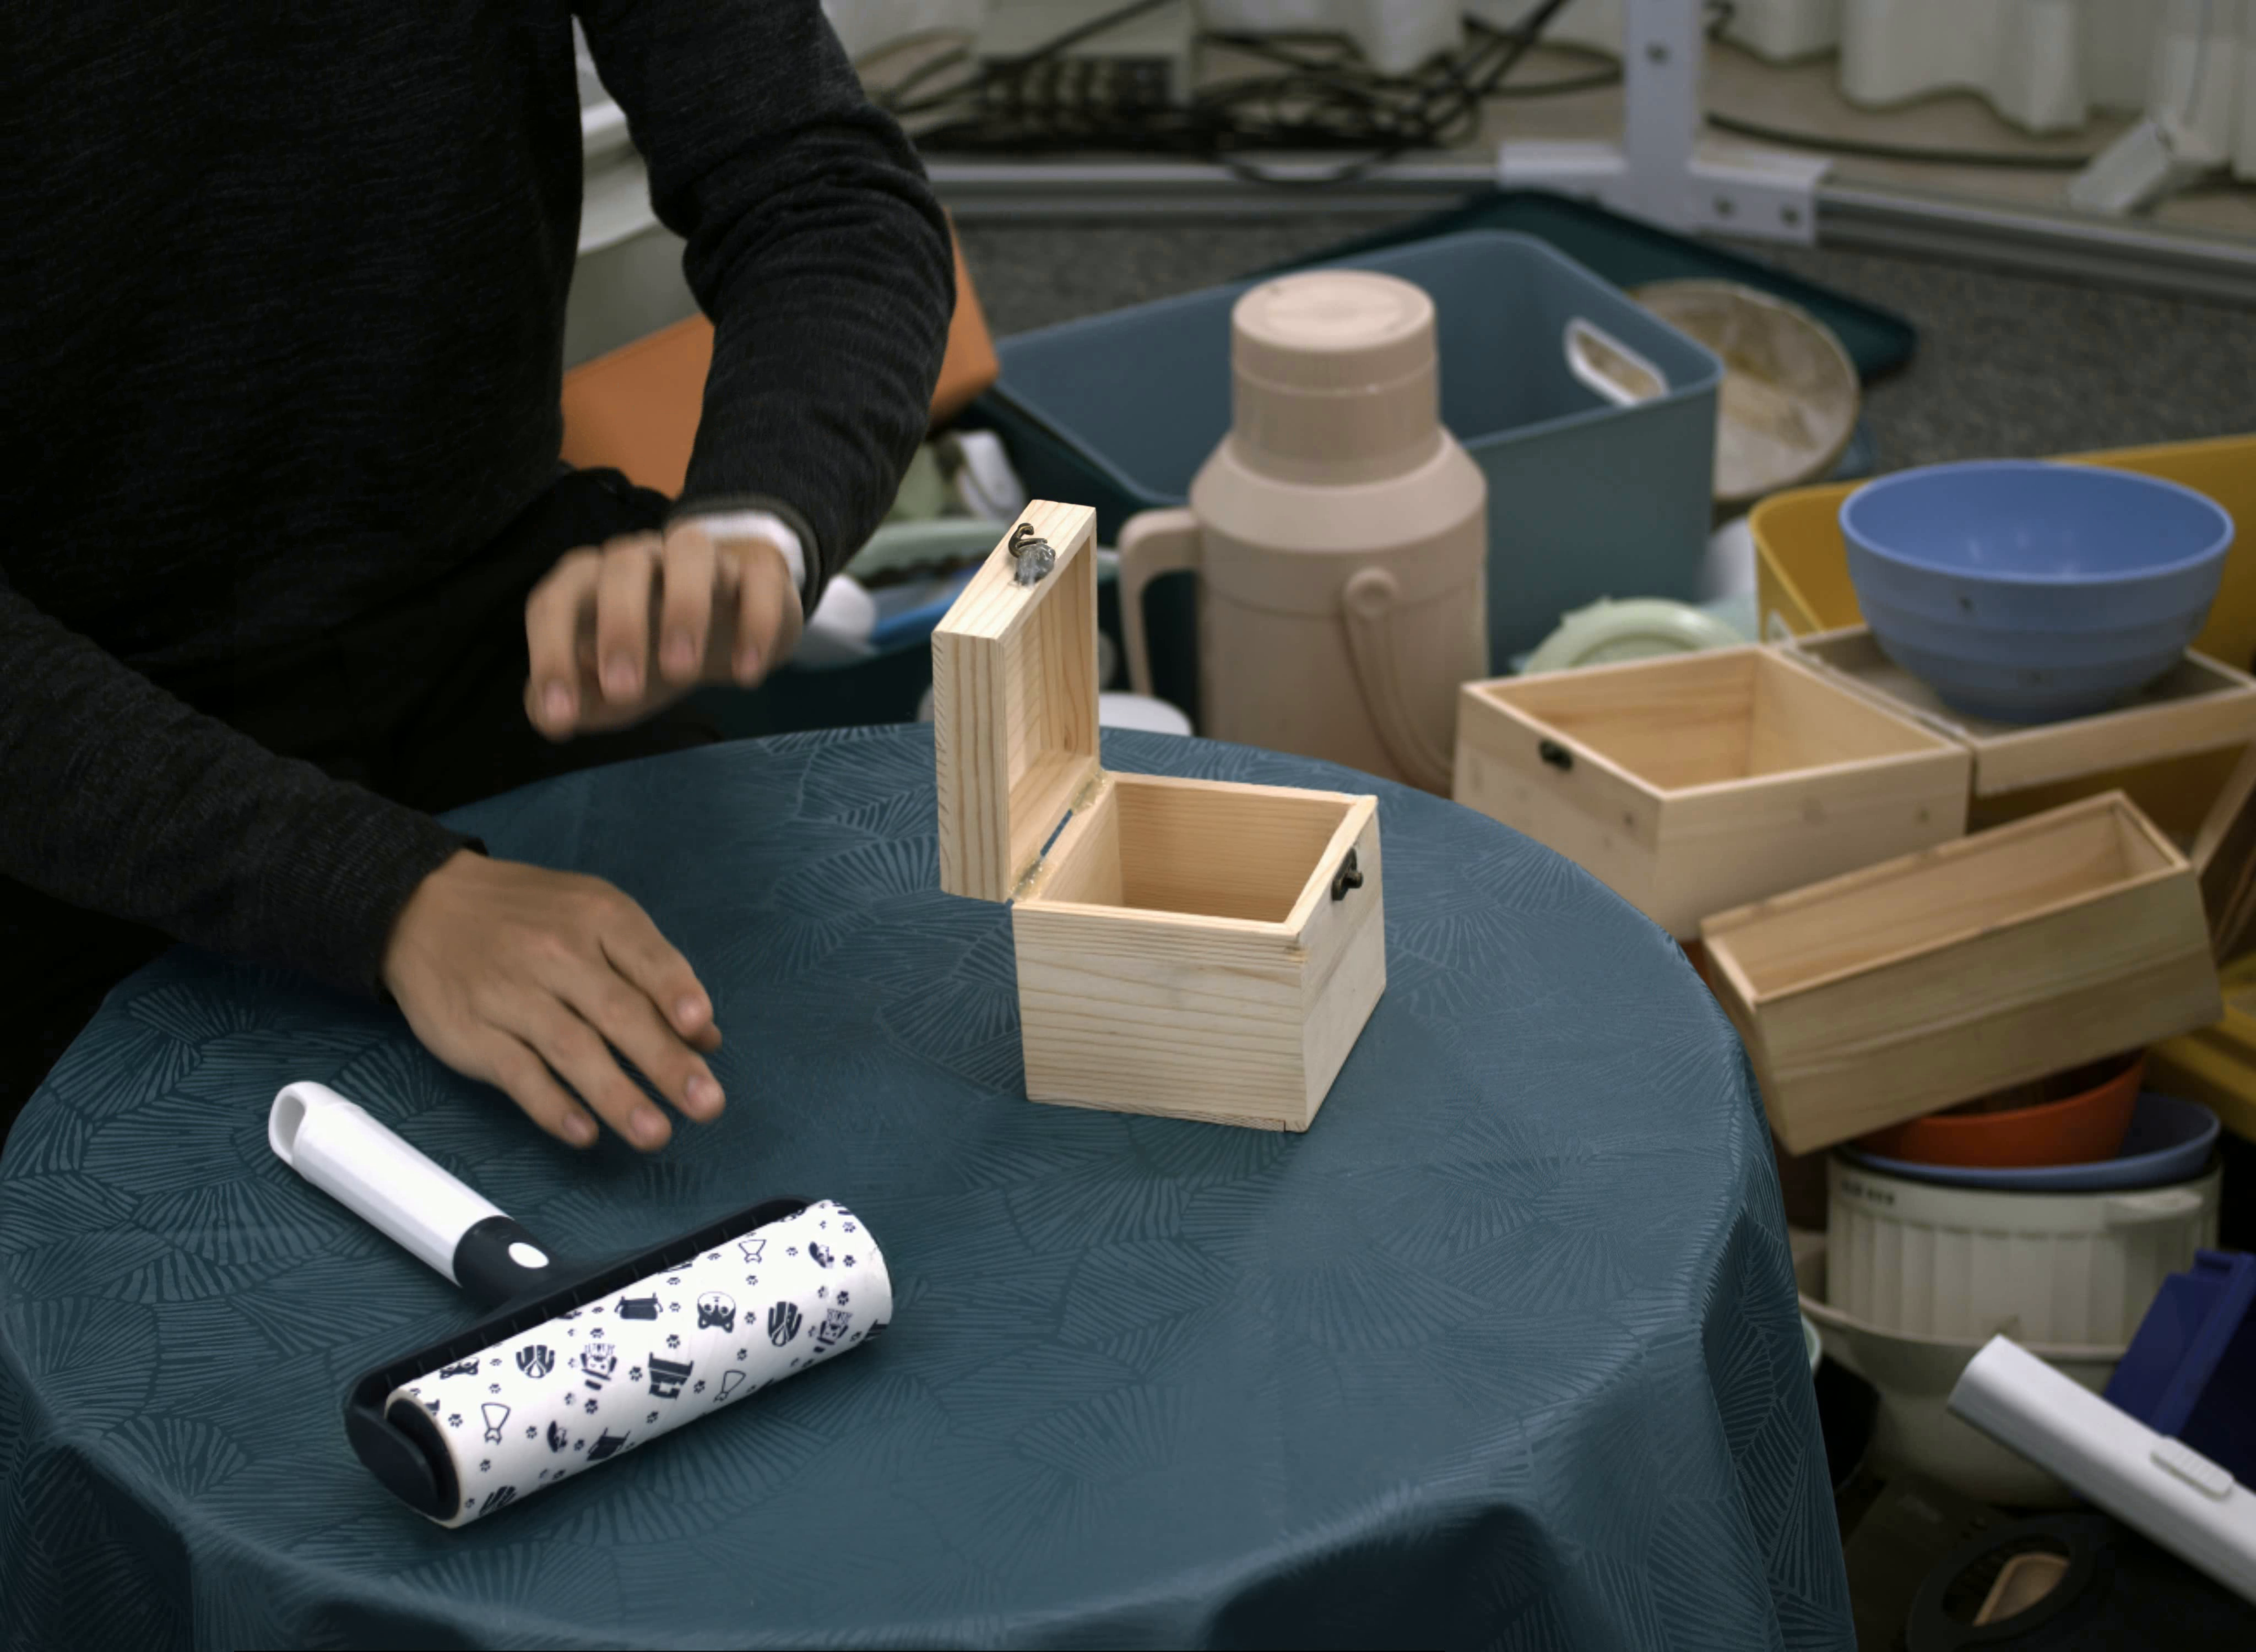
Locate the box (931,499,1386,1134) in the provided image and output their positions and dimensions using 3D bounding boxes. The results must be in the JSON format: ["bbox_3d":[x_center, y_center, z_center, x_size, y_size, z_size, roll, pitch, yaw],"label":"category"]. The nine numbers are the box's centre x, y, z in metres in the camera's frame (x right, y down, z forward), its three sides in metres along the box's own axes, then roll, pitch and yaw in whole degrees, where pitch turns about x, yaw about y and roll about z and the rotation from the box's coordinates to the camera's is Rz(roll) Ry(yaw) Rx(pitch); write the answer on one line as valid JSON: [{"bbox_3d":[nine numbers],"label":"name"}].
[{"bbox_3d":[0.014,-0.005,1.909,0.133,0.182,0.104,4,26,17],"label":"box"}]

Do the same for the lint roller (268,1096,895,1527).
[{"bbox_3d":[-0.213,0.134,1.813,0.178,0.050,0.247,-23,32,-32],"label":"lint roller"}]
